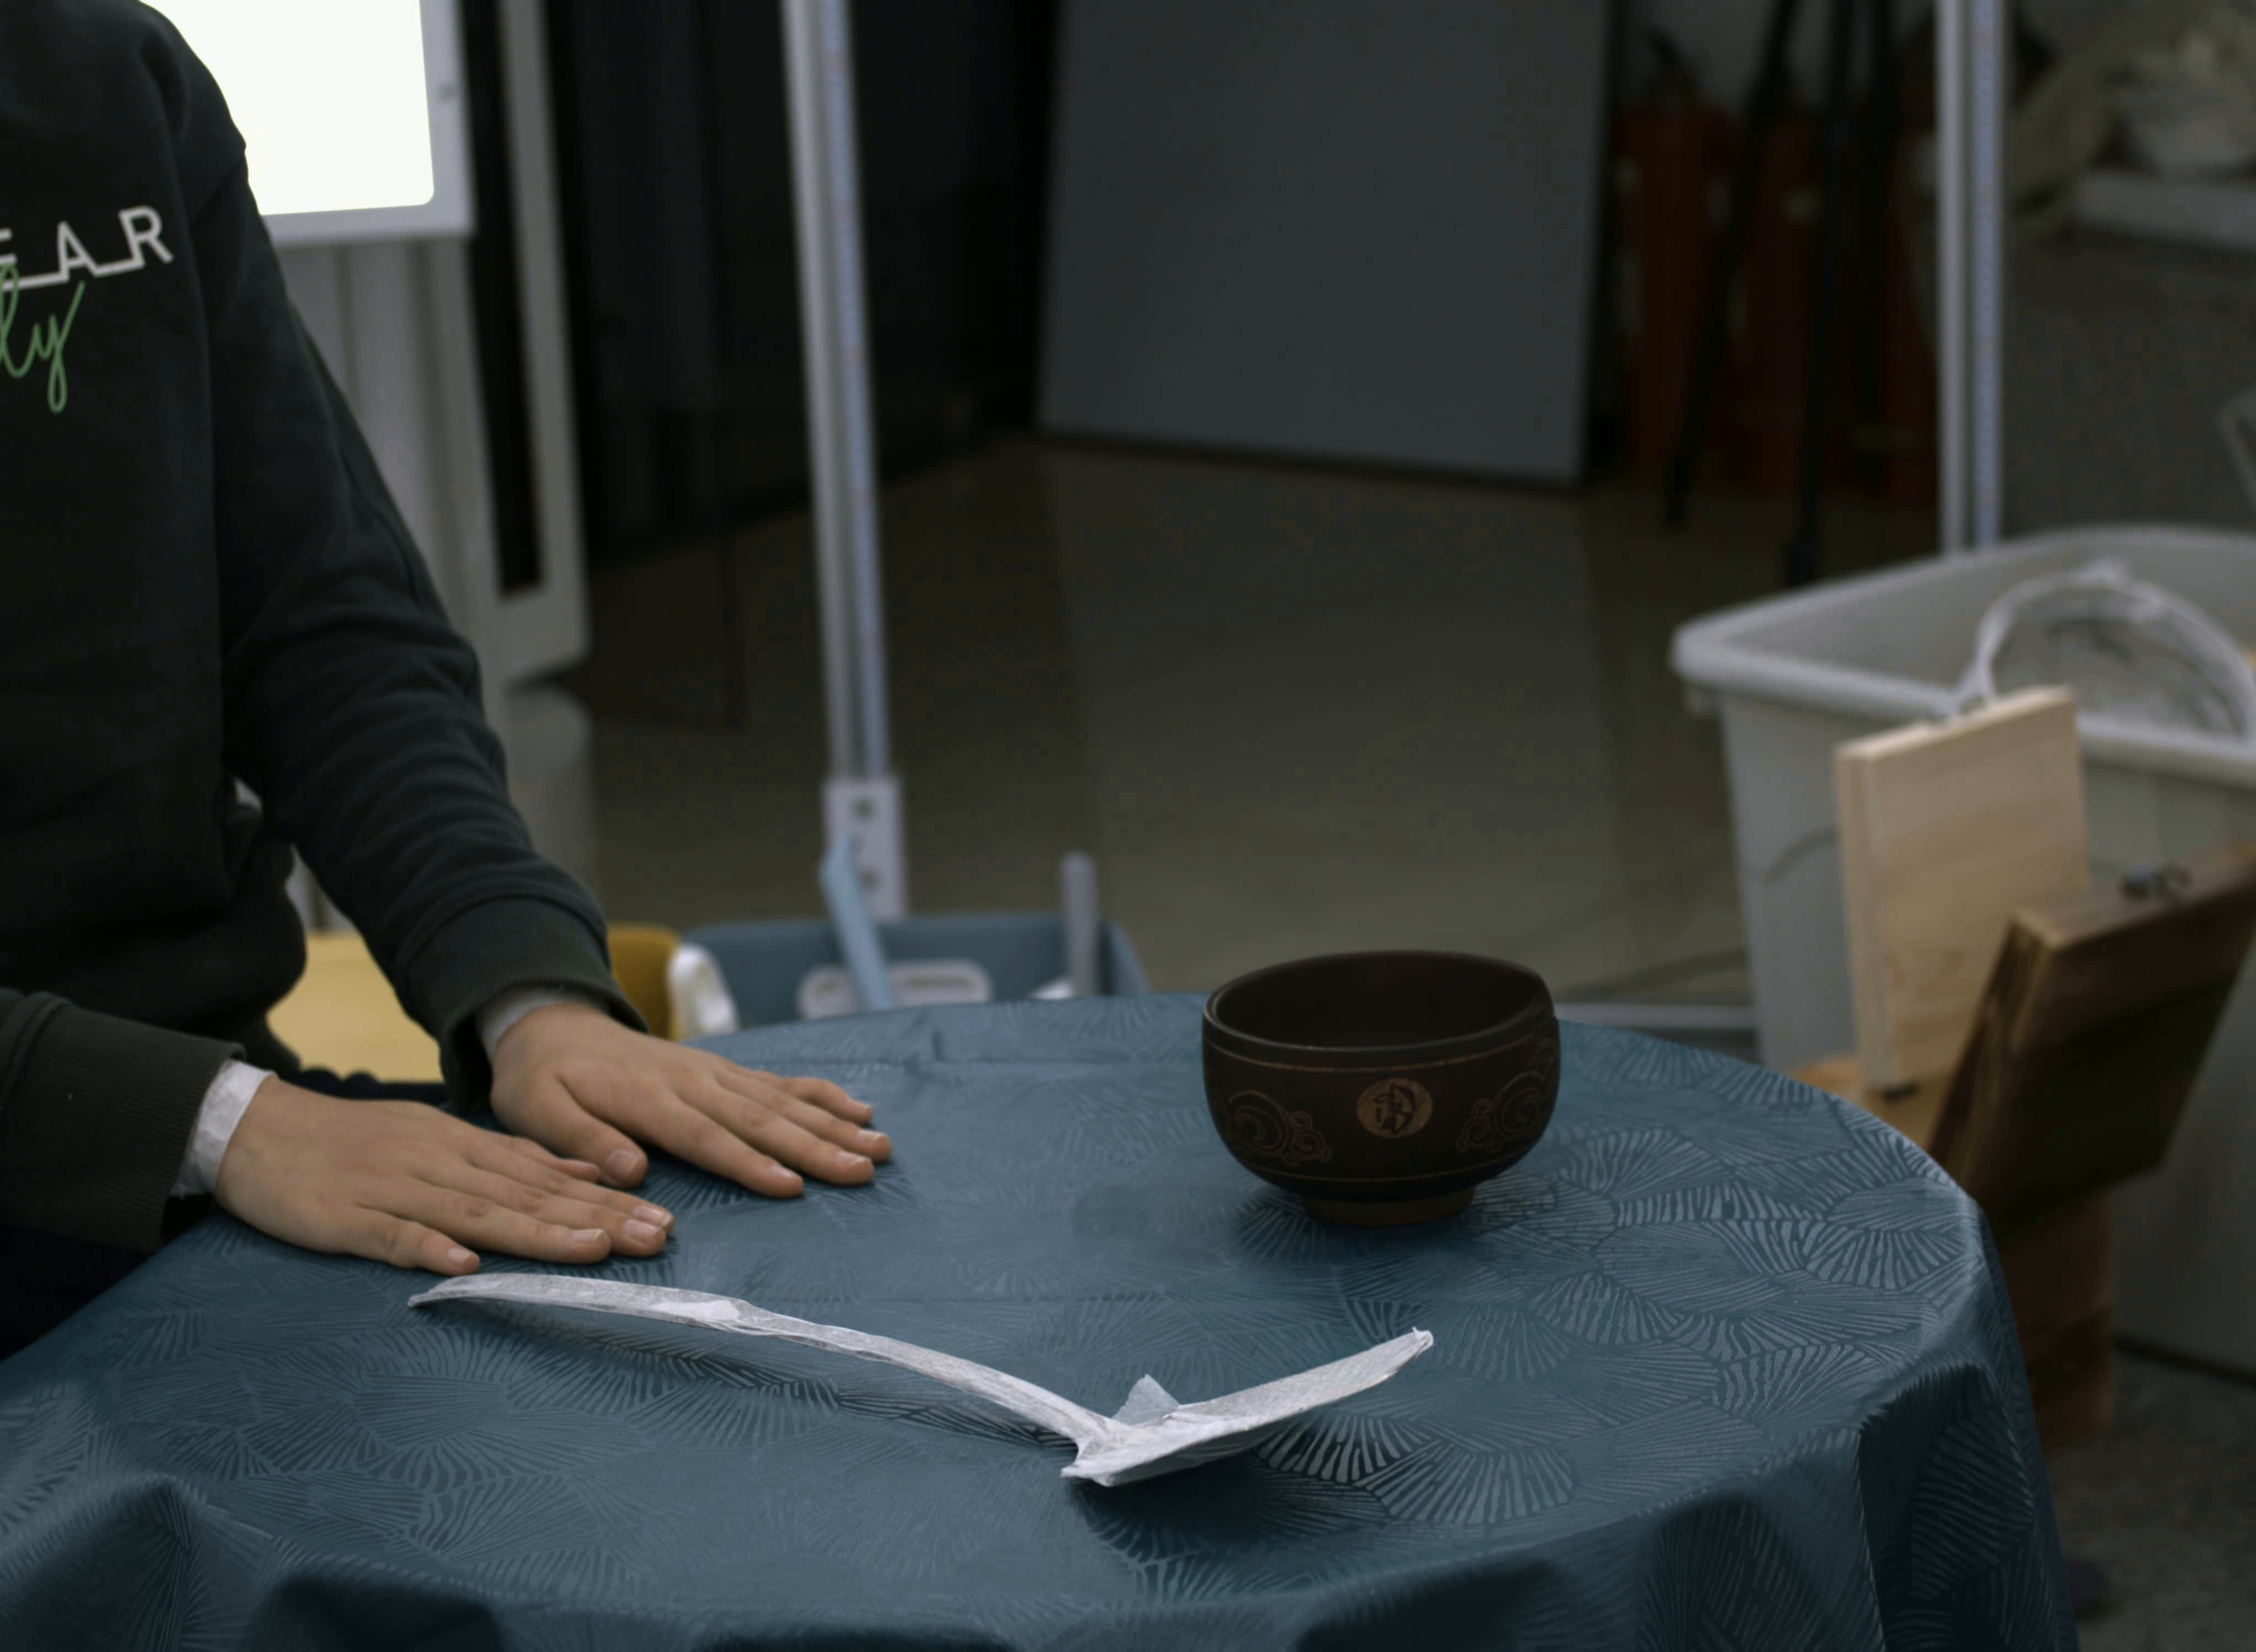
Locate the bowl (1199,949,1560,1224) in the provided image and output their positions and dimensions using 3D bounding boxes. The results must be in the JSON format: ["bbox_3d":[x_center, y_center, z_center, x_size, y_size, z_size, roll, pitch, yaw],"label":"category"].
[{"bbox_3d":[0.082,0.087,1.736,0.116,0.070,0.118,-4,12,0],"label":"bowl"}]

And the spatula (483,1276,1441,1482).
[{"bbox_3d":[-0.070,0.151,1.591,0.368,0.045,0.097,8,20,39],"label":"spatula"}]
